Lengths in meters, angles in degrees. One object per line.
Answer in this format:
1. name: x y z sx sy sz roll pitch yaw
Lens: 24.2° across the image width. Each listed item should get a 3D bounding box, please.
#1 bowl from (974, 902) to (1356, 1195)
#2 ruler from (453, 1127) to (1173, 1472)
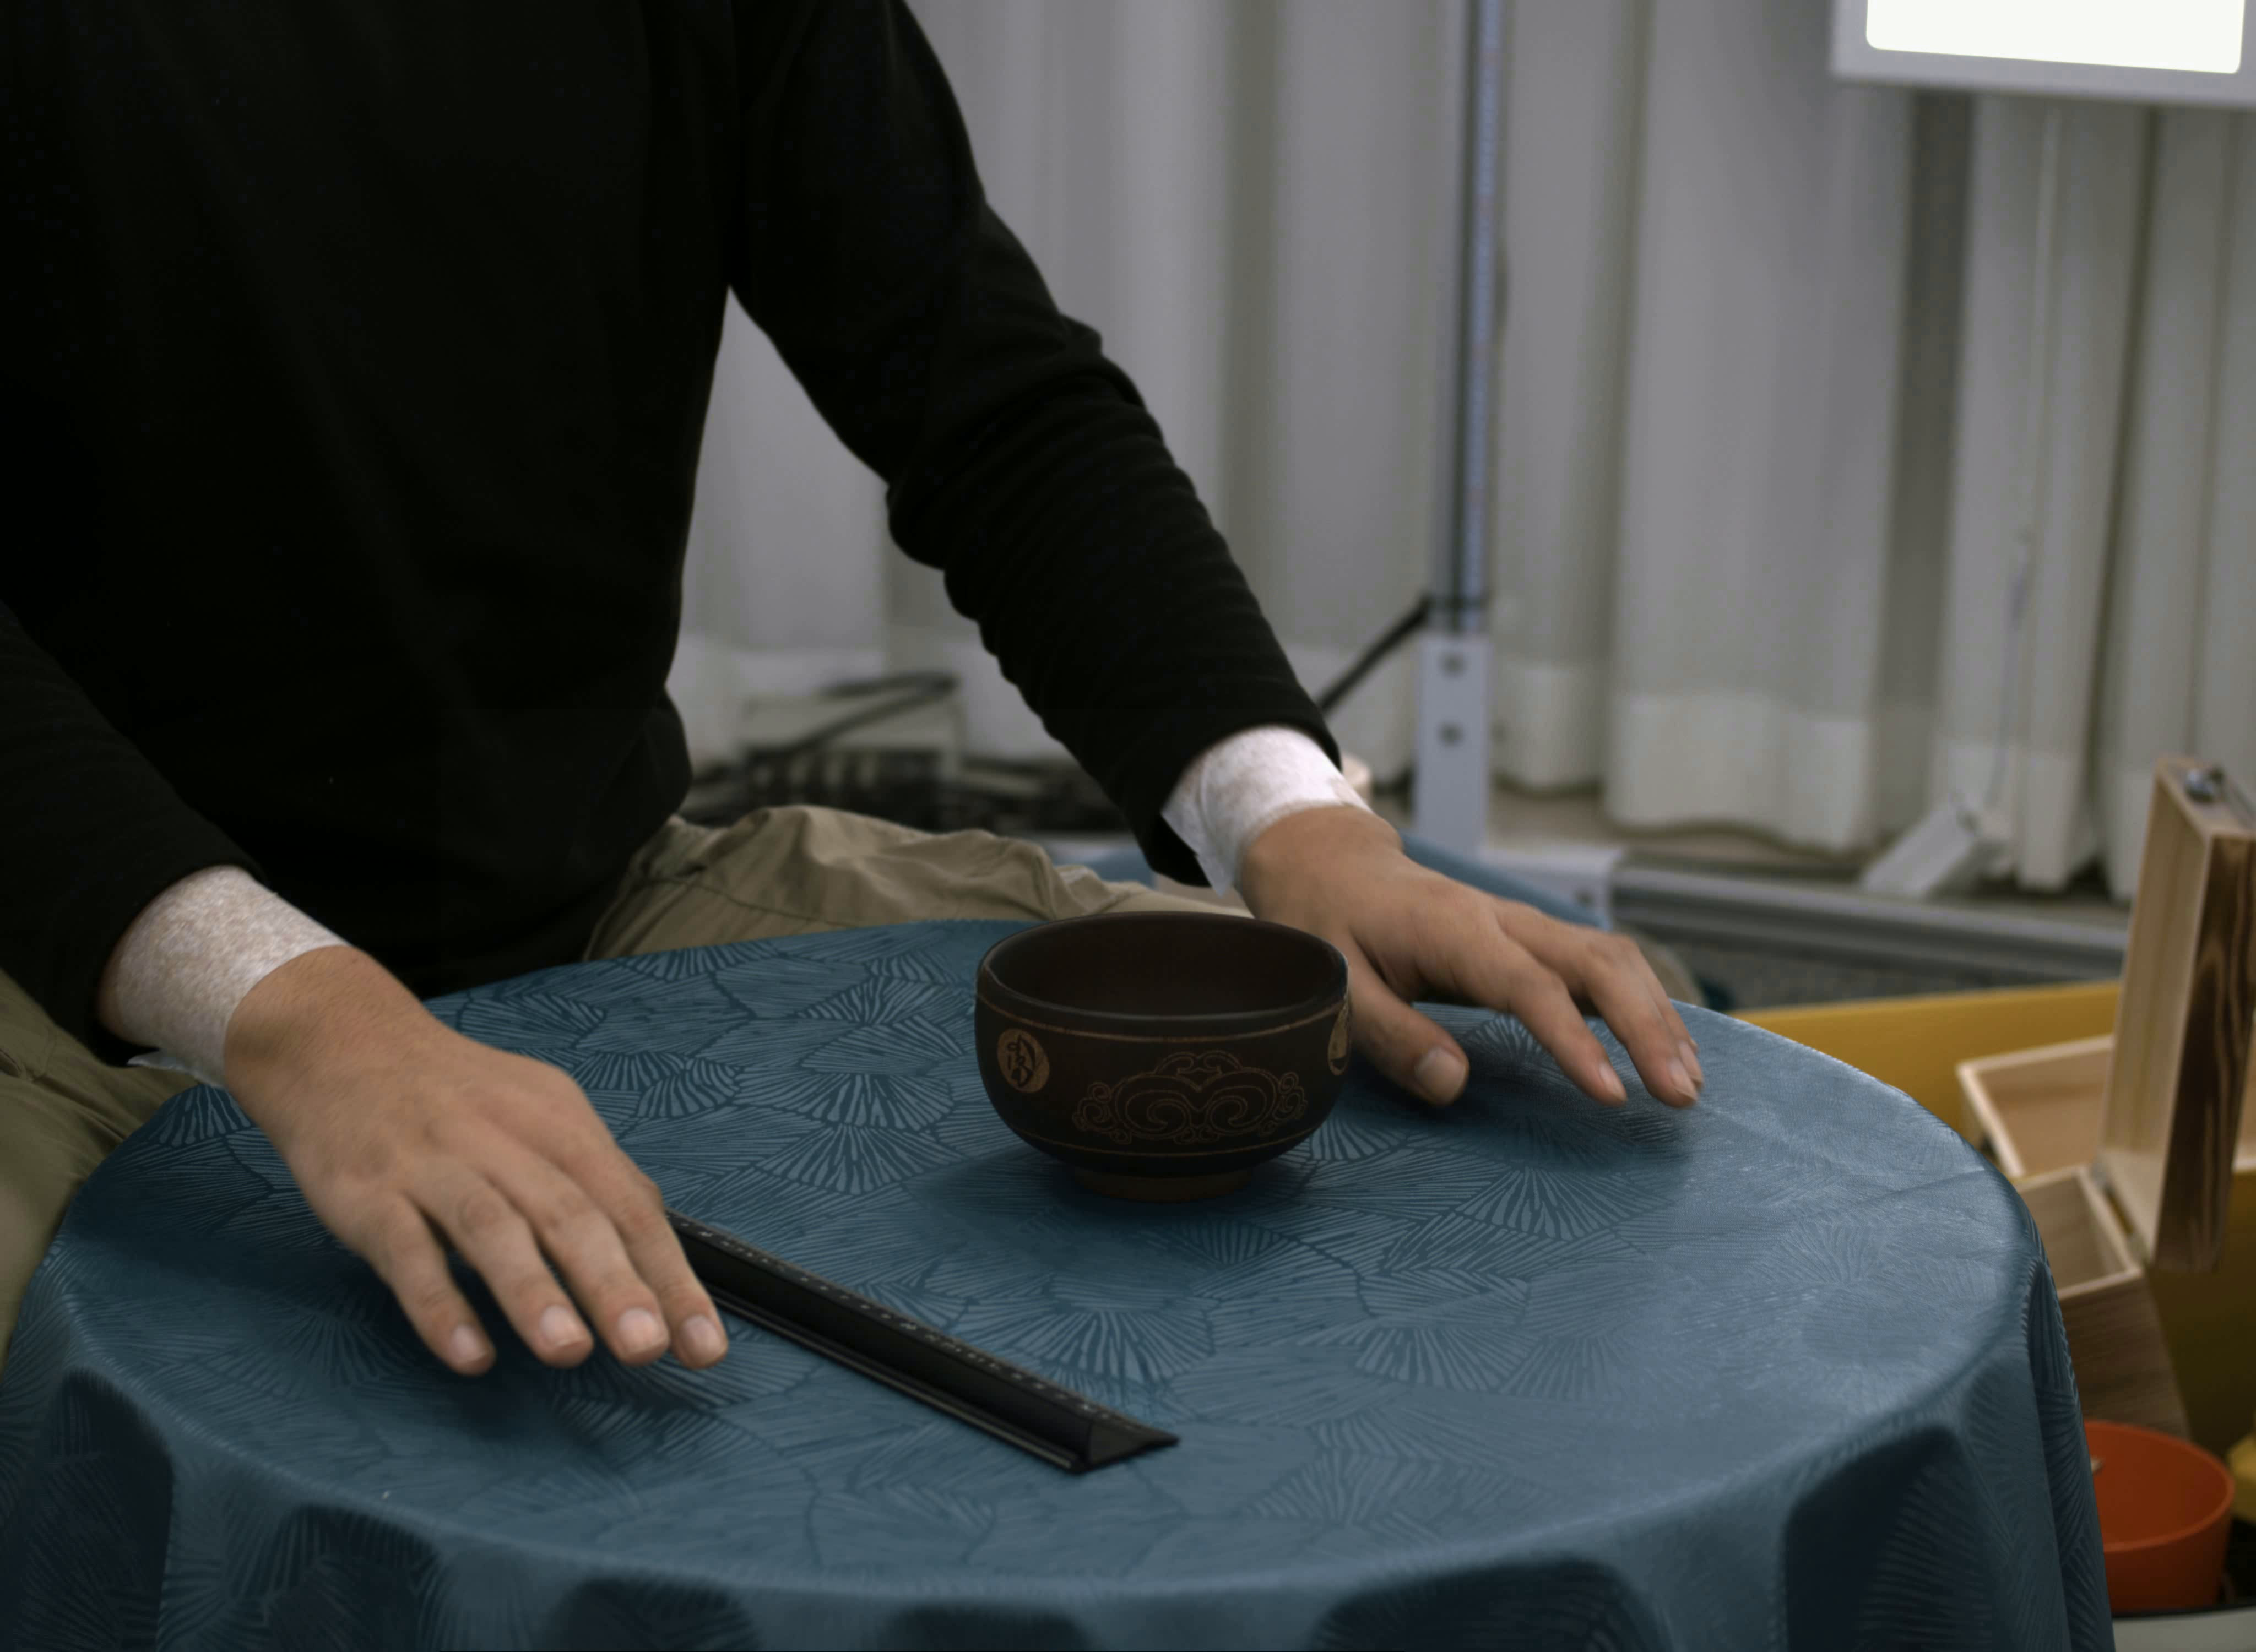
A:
1. bowl: 0.011 0.072 1.627 0.117 0.070 0.117 1 16 0
2. ruler: -0.097 0.130 1.522 0.039 0.017 0.308 -7 17 -39
